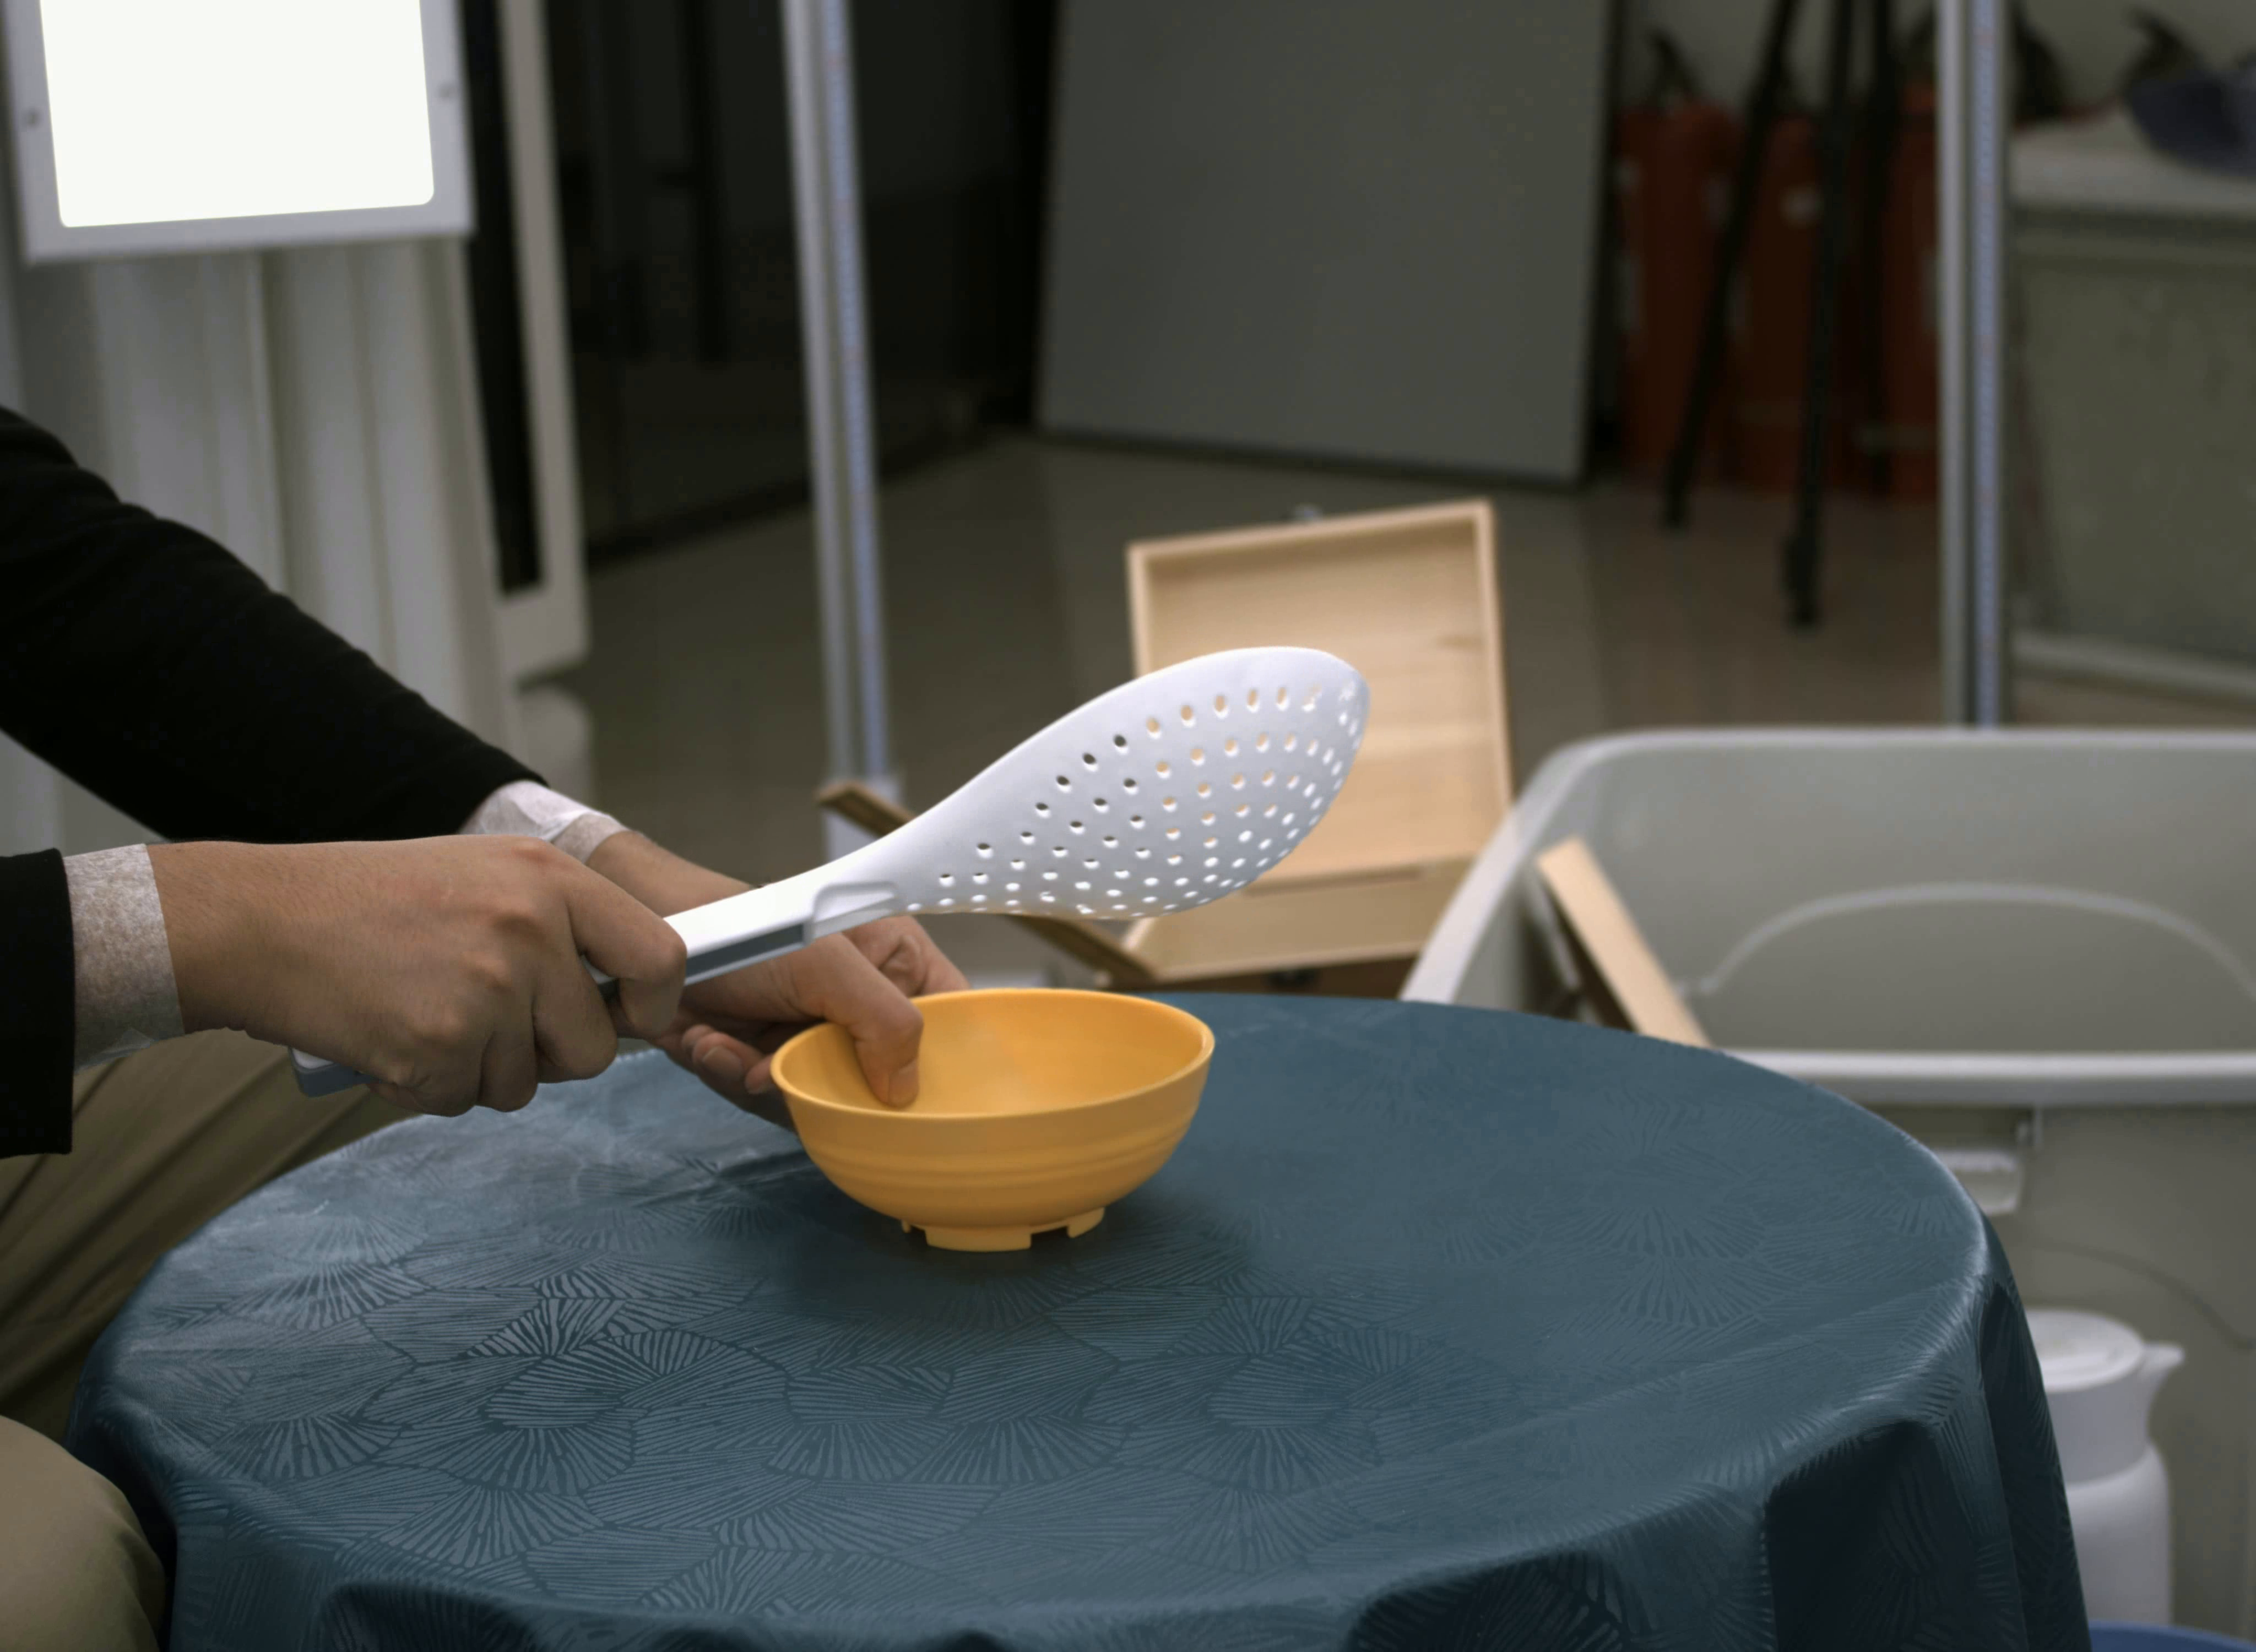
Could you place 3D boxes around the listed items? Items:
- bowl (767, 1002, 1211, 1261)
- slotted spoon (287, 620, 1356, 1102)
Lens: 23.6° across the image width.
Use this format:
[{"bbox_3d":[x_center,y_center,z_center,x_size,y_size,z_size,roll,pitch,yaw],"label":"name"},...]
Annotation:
[{"bbox_3d":[-0.044,0.102,1.741,0.143,0.061,0.145,-2,12,0],"label":"bowl"},{"bbox_3d":[-0.088,0.019,1.642,0.344,0.046,0.136,-14,-29,-9],"label":"slotted spoon"}]
